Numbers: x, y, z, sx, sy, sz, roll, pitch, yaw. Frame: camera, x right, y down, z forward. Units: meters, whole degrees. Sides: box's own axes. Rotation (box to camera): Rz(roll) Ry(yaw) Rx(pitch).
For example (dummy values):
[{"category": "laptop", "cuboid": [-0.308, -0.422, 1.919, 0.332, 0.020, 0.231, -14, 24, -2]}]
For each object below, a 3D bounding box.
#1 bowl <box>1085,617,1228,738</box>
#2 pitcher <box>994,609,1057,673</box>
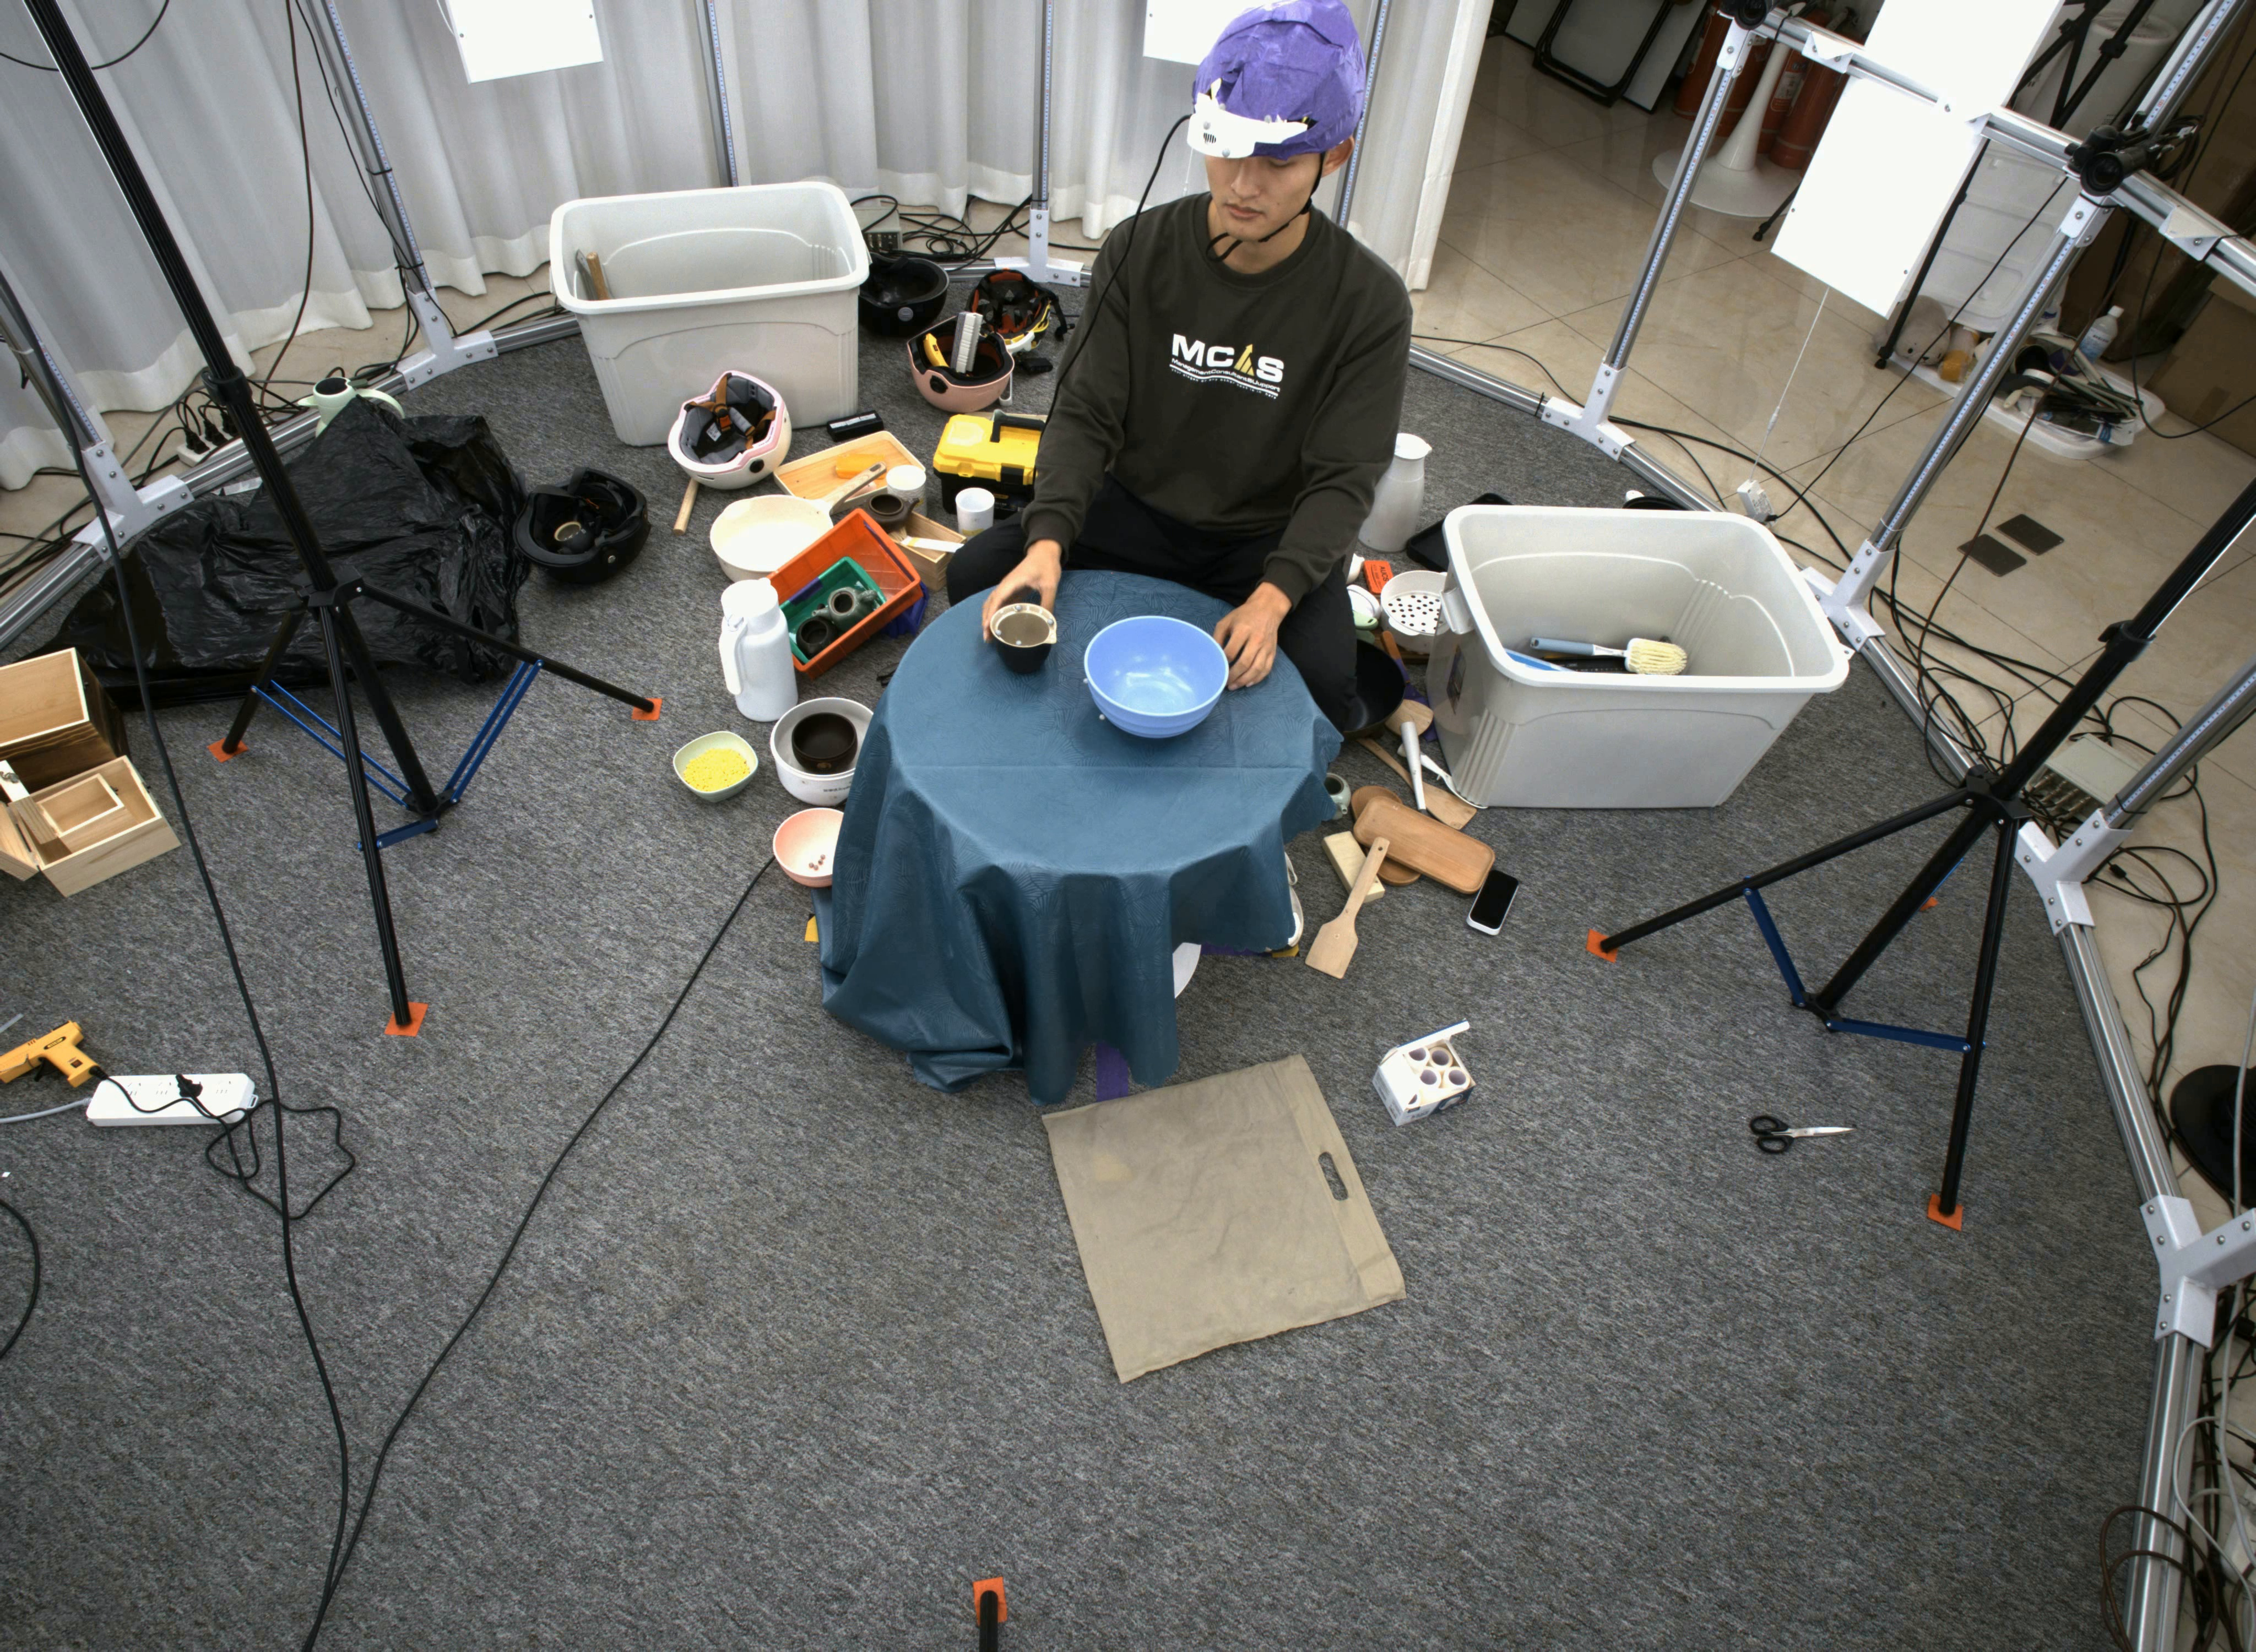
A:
[{"category": "bowl", "cuboid": [0.035, -0.190, 1.773, 0.196, 0.093, 0.201, 3, 47, -3]}, {"category": "pitcher", "cuboid": [-0.143, -0.259, 1.832, 0.097, 0.069, 0.085, 27, 51, 19]}]
